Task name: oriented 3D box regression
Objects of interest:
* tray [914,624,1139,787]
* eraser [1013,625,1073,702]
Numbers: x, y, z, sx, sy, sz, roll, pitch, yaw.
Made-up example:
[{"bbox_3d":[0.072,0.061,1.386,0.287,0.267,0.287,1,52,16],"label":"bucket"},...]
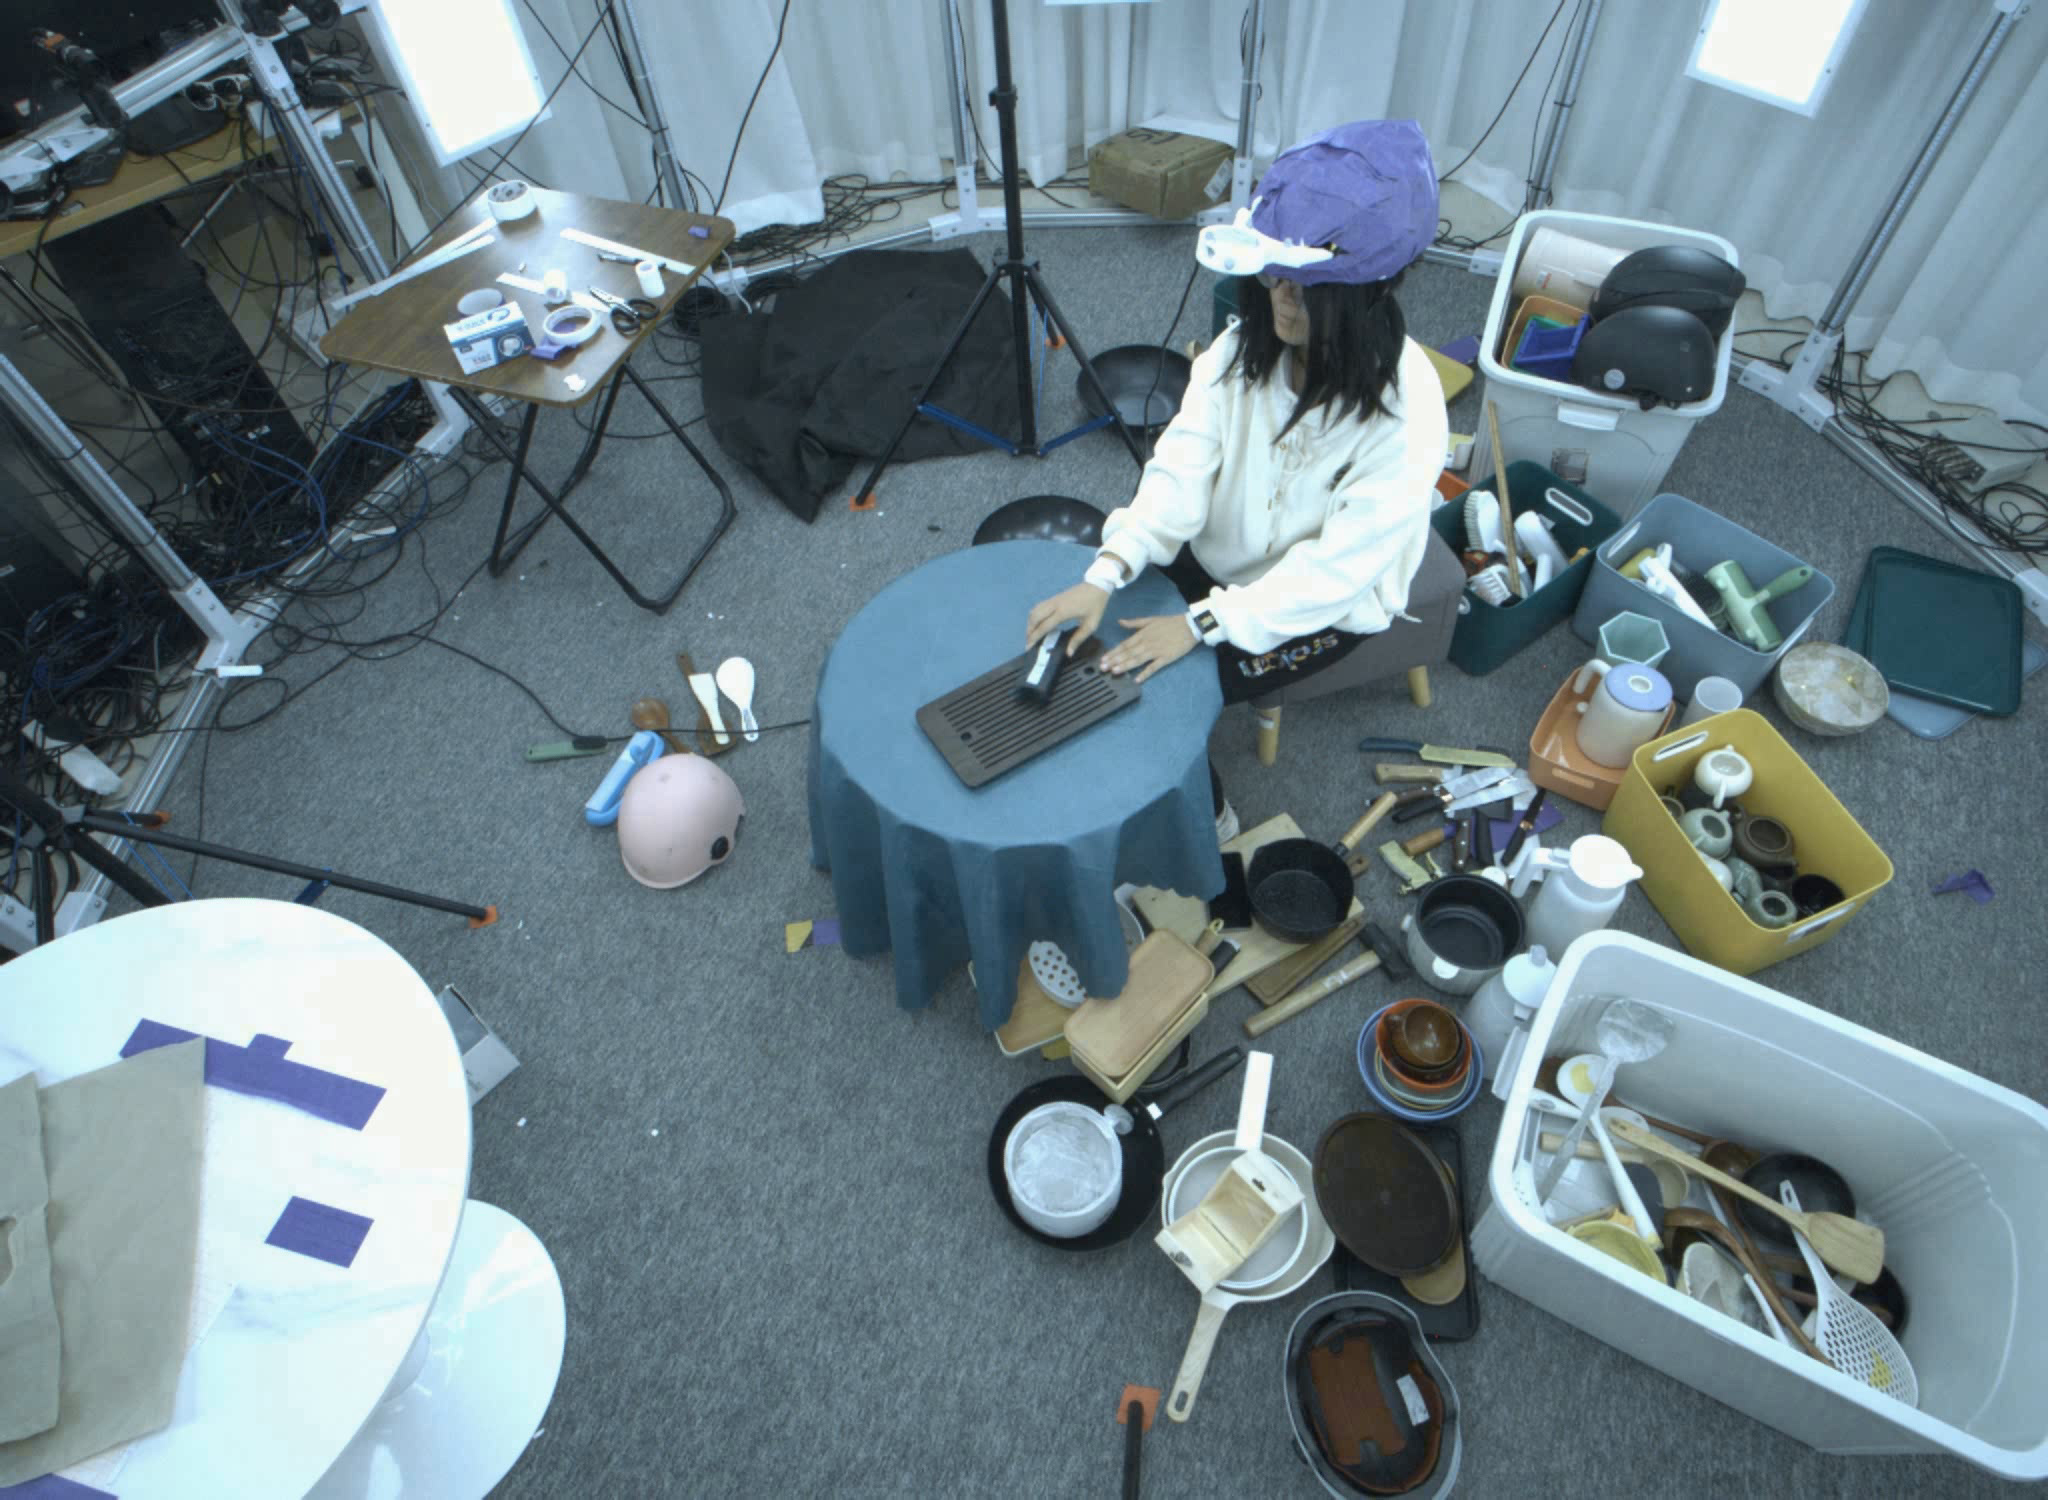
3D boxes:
[{"bbox_3d":[0.004,-0.069,1.825,0.308,0.019,0.167,-29,59,-17],"label":"tray"},{"bbox_3d":[0.029,-0.130,1.843,0.053,0.031,0.125,17,56,9],"label":"eraser"}]
